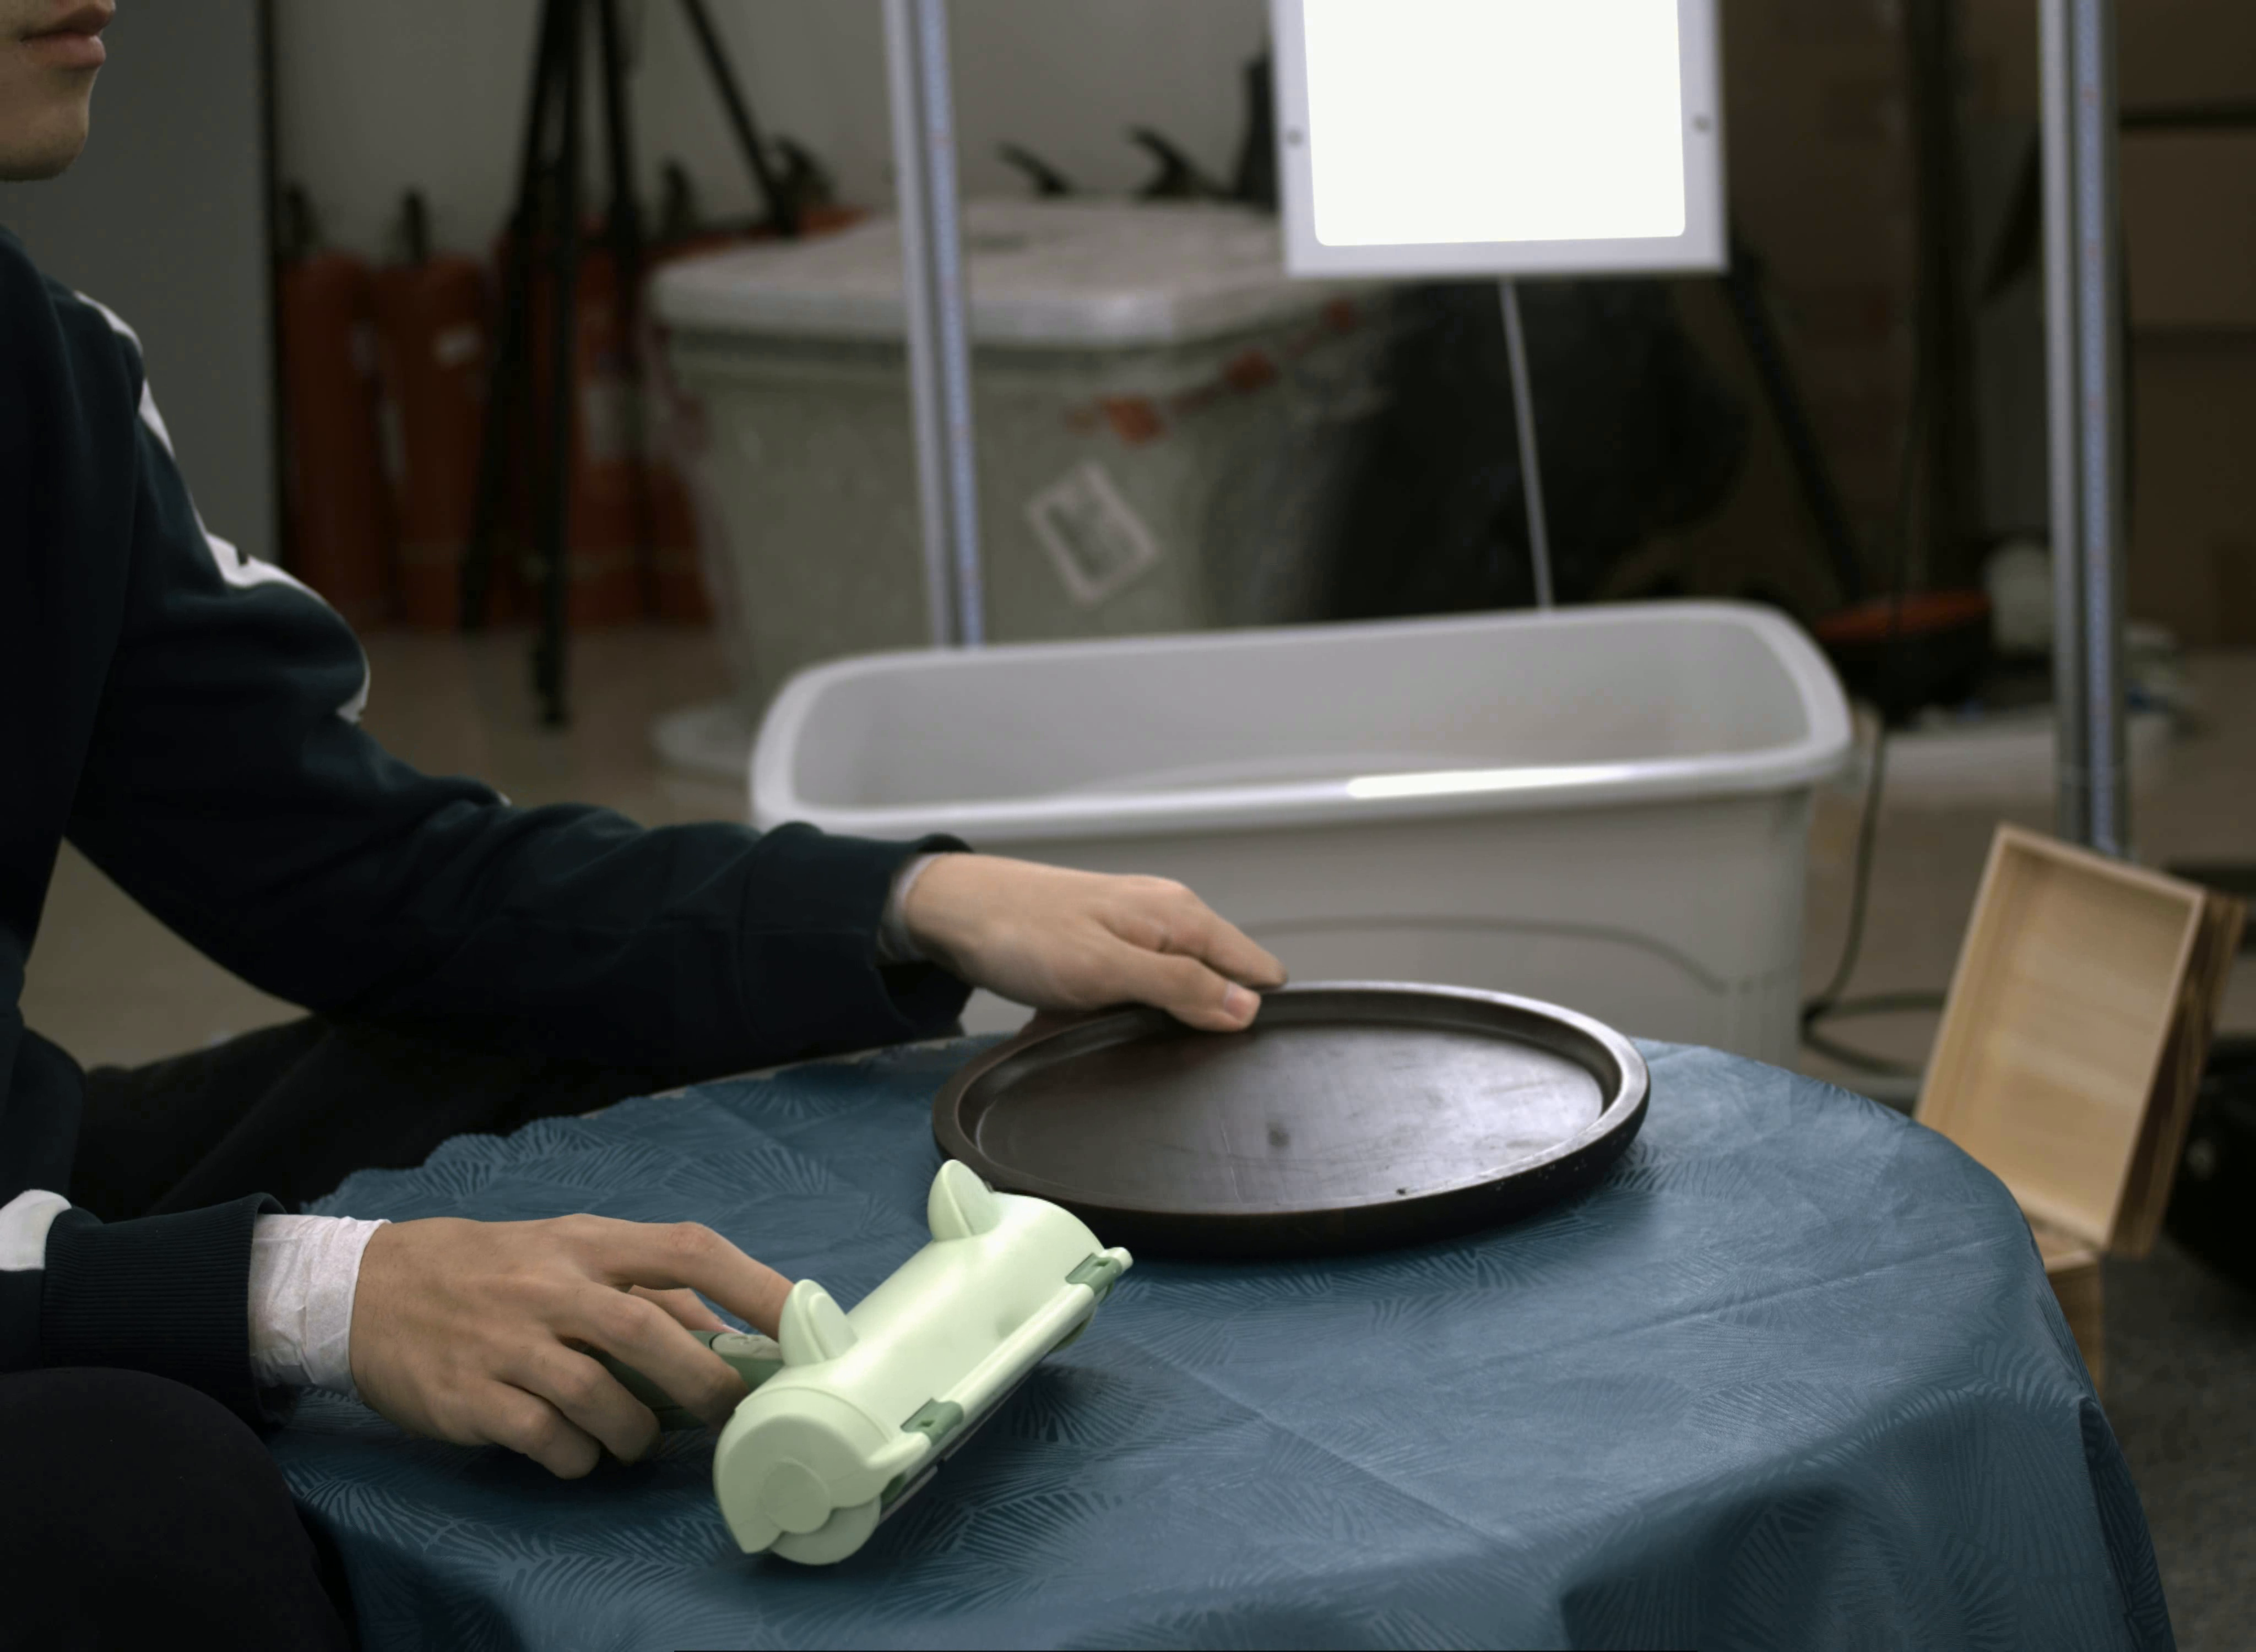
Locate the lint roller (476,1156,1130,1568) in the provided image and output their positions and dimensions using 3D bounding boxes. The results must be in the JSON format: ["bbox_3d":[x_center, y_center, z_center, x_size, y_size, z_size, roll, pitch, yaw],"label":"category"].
[{"bbox_3d":[-0.115,0.152,1.663,0.186,0.082,0.195,4,16,21],"label":"lint roller"}]

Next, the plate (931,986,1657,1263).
[{"bbox_3d":[0.058,0.101,1.913,0.254,0.029,0.254,-5,17,0],"label":"plate"}]
